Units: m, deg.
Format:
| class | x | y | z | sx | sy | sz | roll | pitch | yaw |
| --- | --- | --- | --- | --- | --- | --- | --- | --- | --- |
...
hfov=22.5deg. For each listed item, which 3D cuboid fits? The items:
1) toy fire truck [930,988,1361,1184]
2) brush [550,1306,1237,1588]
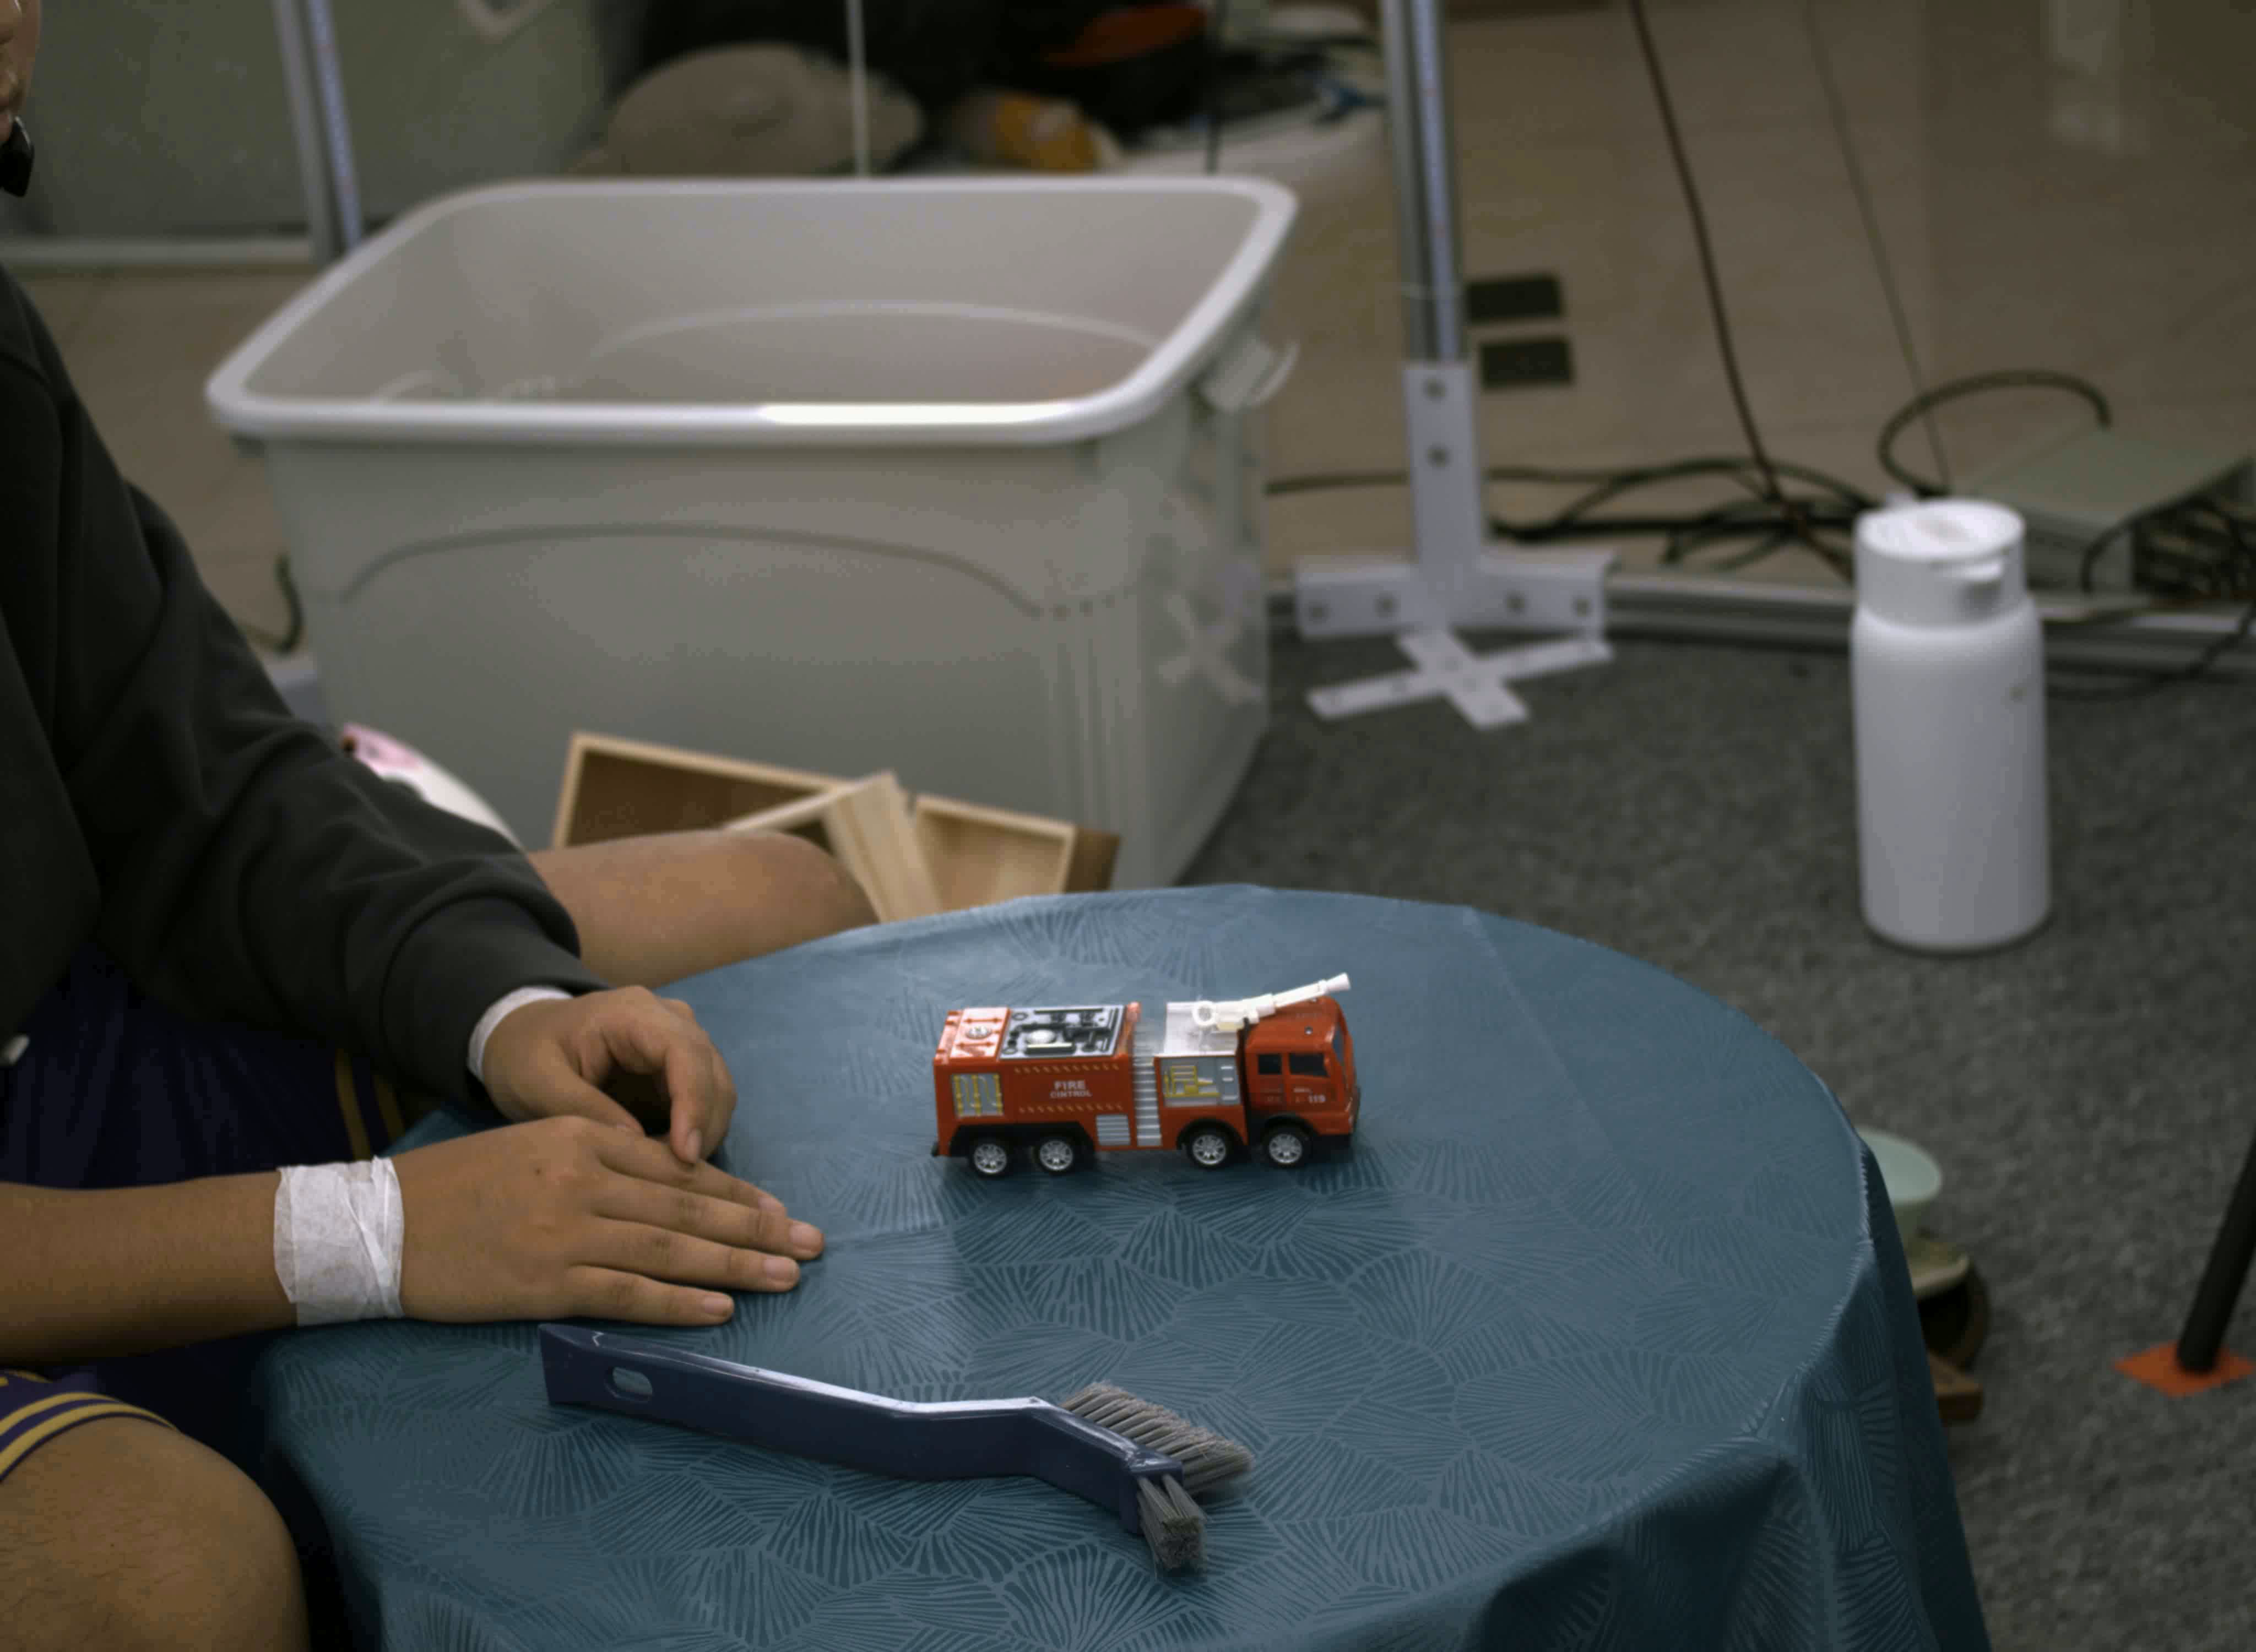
| class | x | y | z | sx | sy | sz | roll | pitch | yaw |
| --- | --- | --- | --- | --- | --- | --- | --- | --- | --- |
| toy fire truck | 0.007 | 0.097 | 2.164 | 0.167 | 0.071 | 0.053 | -3 | 26 | 8 |
| brush | -0.093 | 0.212 | 1.975 | 0.272 | 0.034 | 0.094 | 5 | 28 | 23 |
